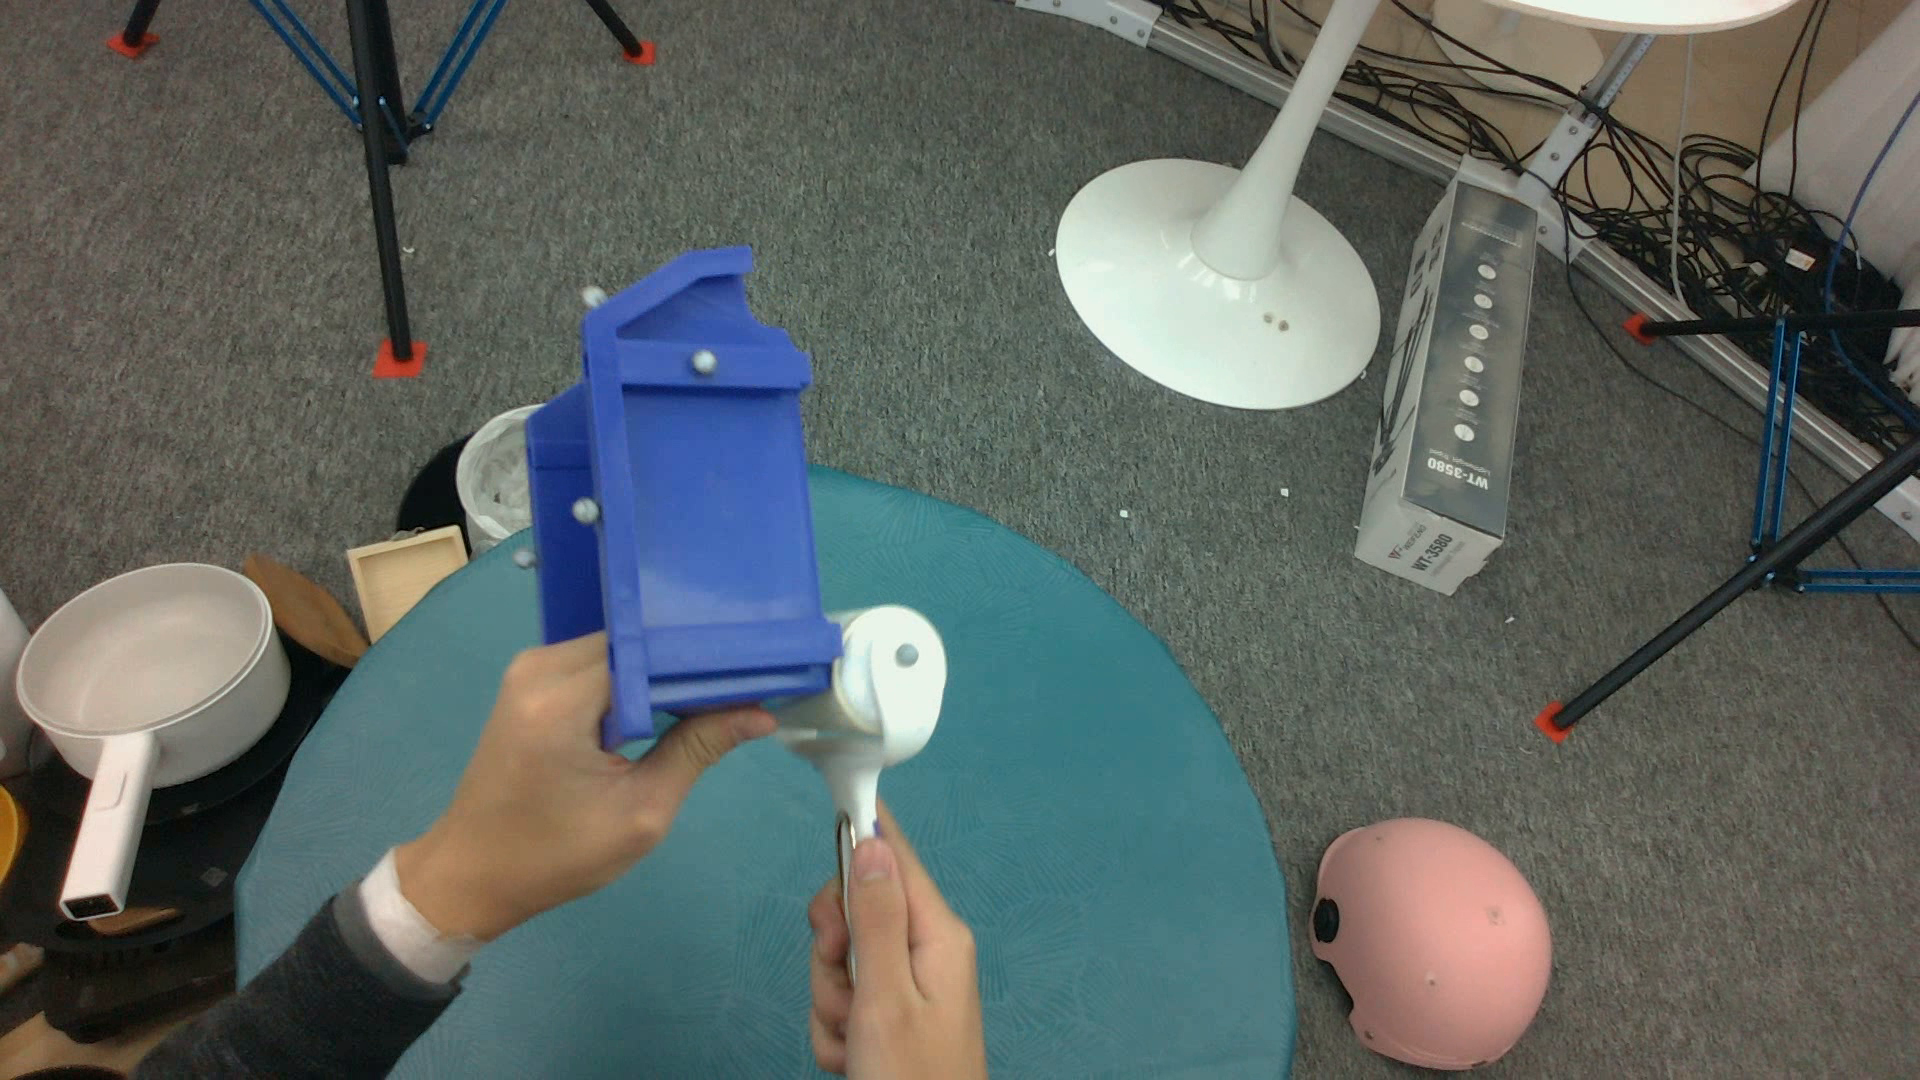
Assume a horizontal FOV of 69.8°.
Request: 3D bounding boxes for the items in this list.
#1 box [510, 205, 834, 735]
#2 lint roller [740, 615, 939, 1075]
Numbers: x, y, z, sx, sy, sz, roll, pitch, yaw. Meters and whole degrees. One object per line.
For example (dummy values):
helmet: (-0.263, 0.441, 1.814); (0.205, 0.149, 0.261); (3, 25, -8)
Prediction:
box: (-0.119, -0.024, 0.541); (0.082, 0.124, 0.179); (-4, 77, -30)
lint roller: (-0.032, 0.119, 0.551); (0.050, 0.132, 0.181); (-17, 89, -29)
